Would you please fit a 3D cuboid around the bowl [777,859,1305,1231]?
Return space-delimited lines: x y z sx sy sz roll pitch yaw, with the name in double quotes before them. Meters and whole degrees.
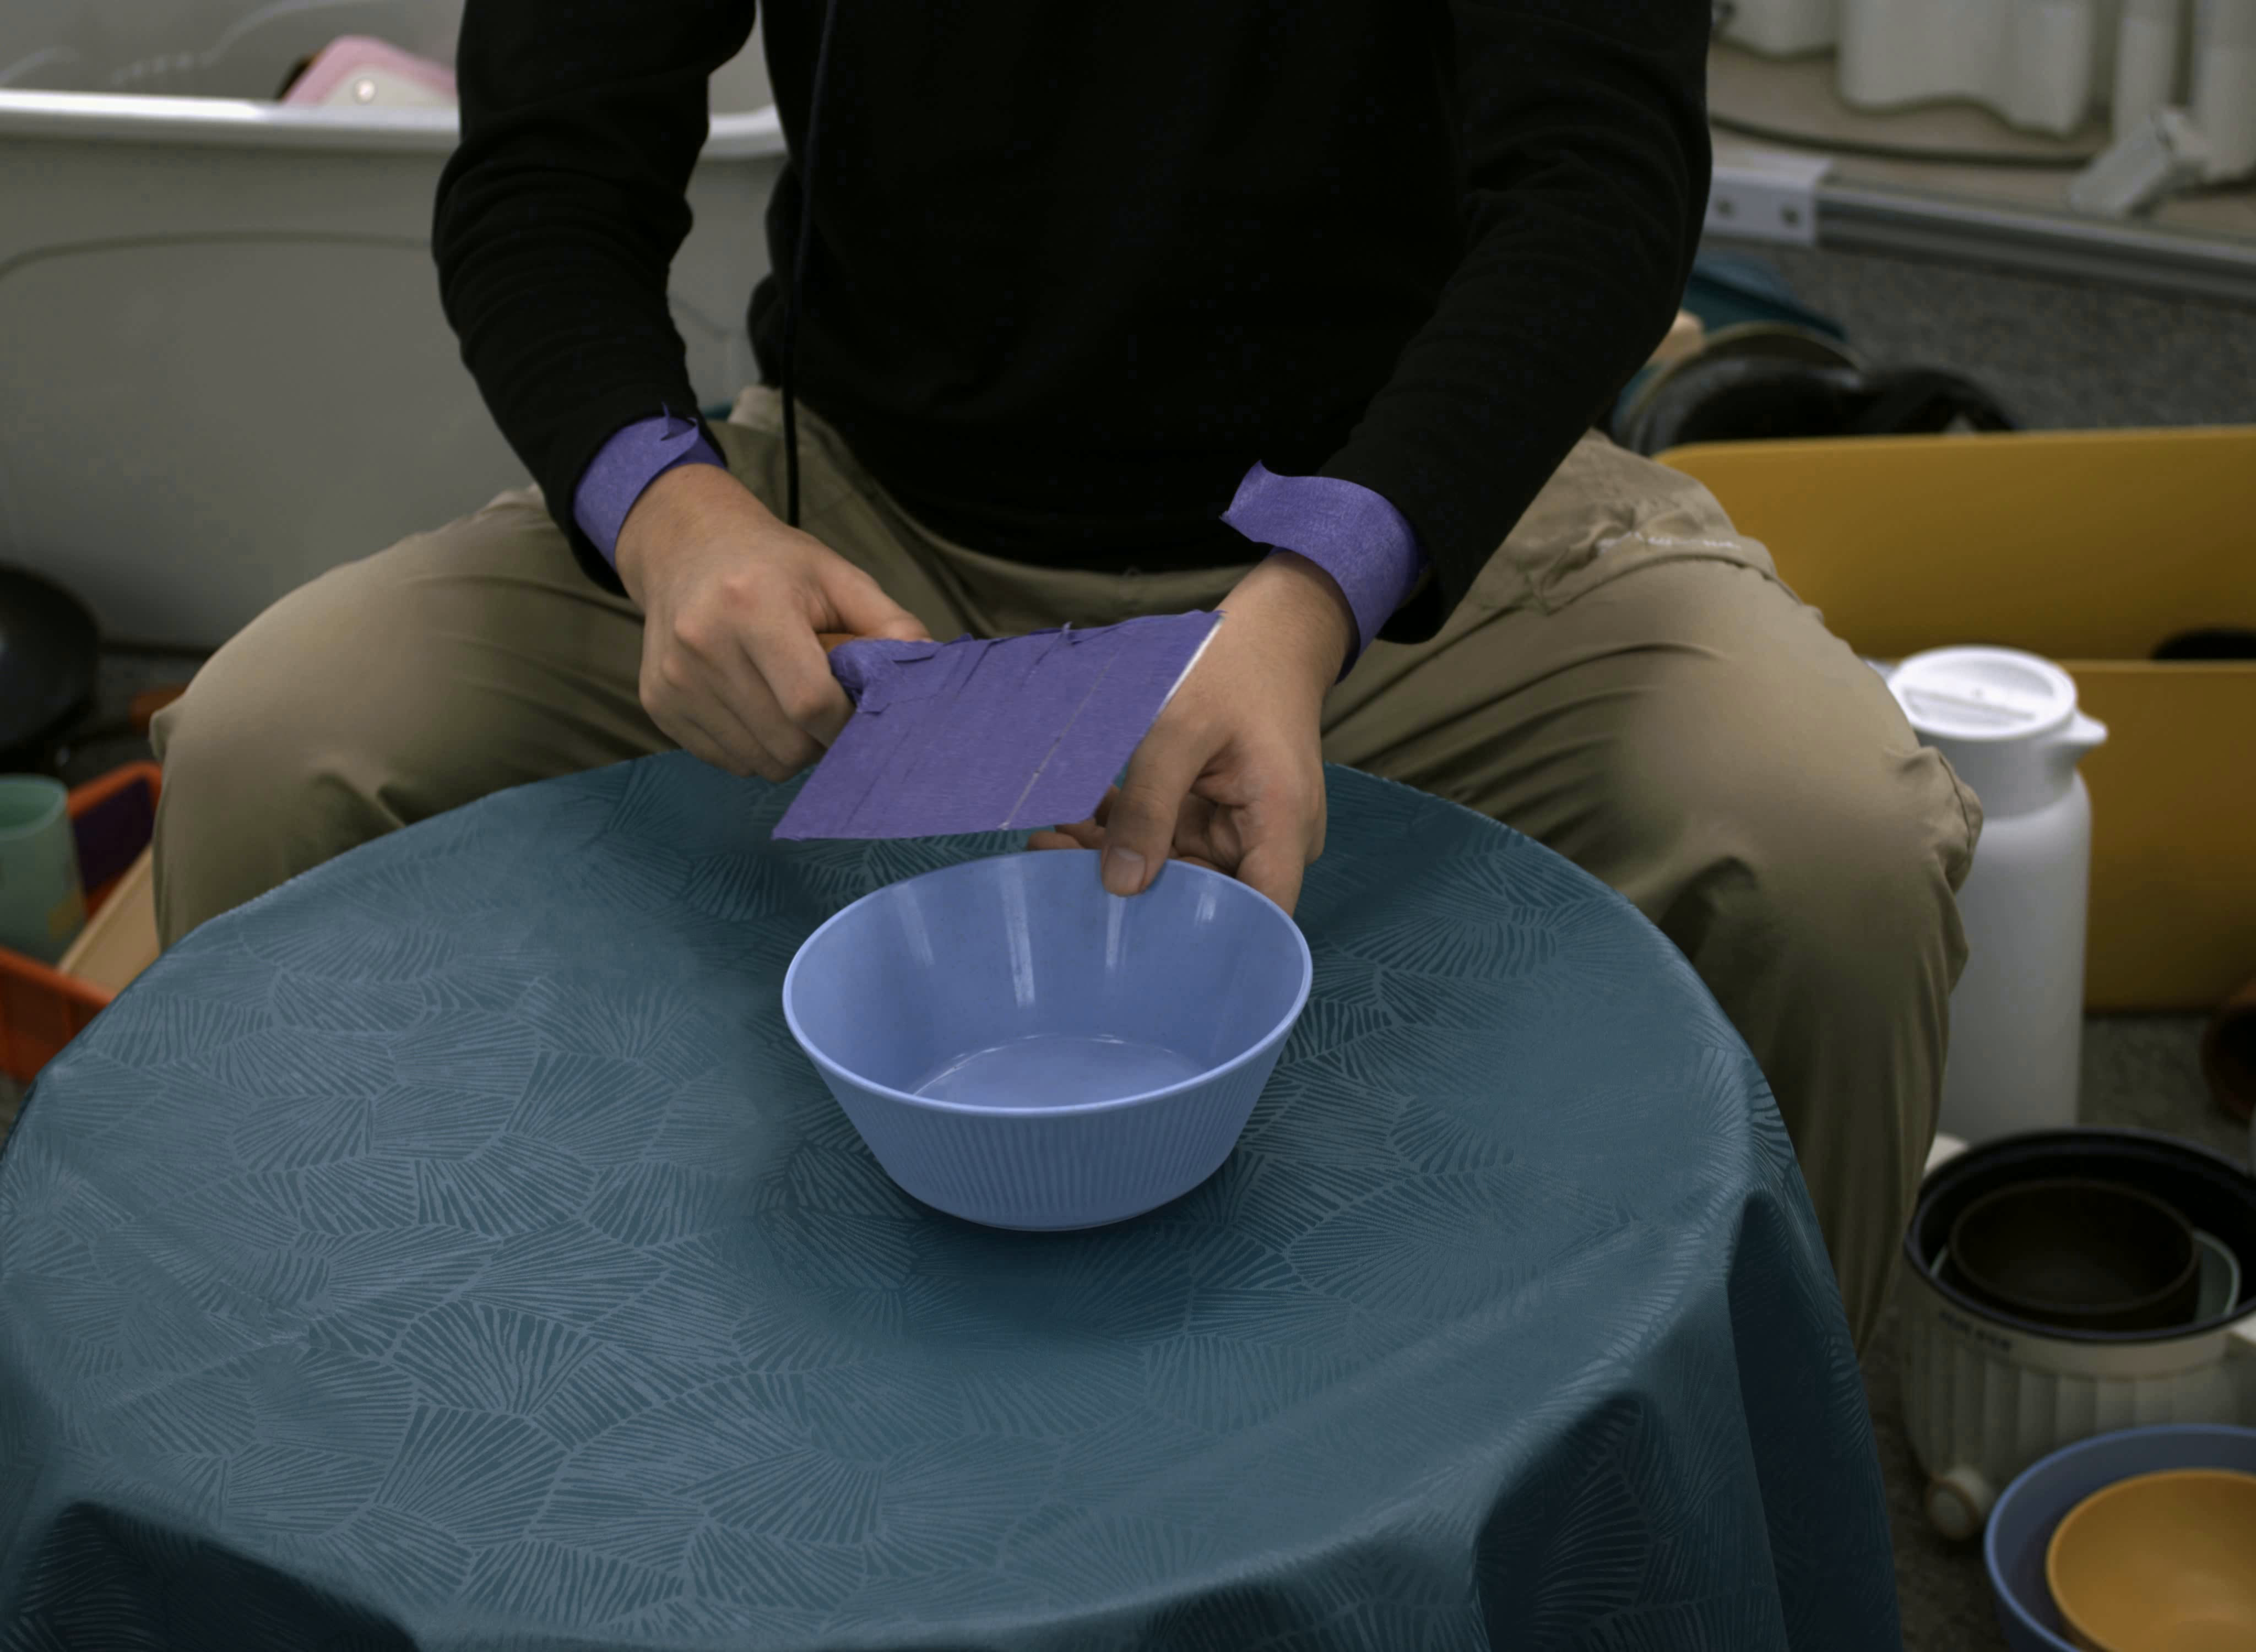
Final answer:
"bowl" -0.028 0.078 1.869 0.175 0.069 0.178 -1 26 1

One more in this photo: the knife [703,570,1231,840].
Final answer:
"knife" -0.077 -0.036 1.942 0.312 0.032 0.105 -8 42 57
